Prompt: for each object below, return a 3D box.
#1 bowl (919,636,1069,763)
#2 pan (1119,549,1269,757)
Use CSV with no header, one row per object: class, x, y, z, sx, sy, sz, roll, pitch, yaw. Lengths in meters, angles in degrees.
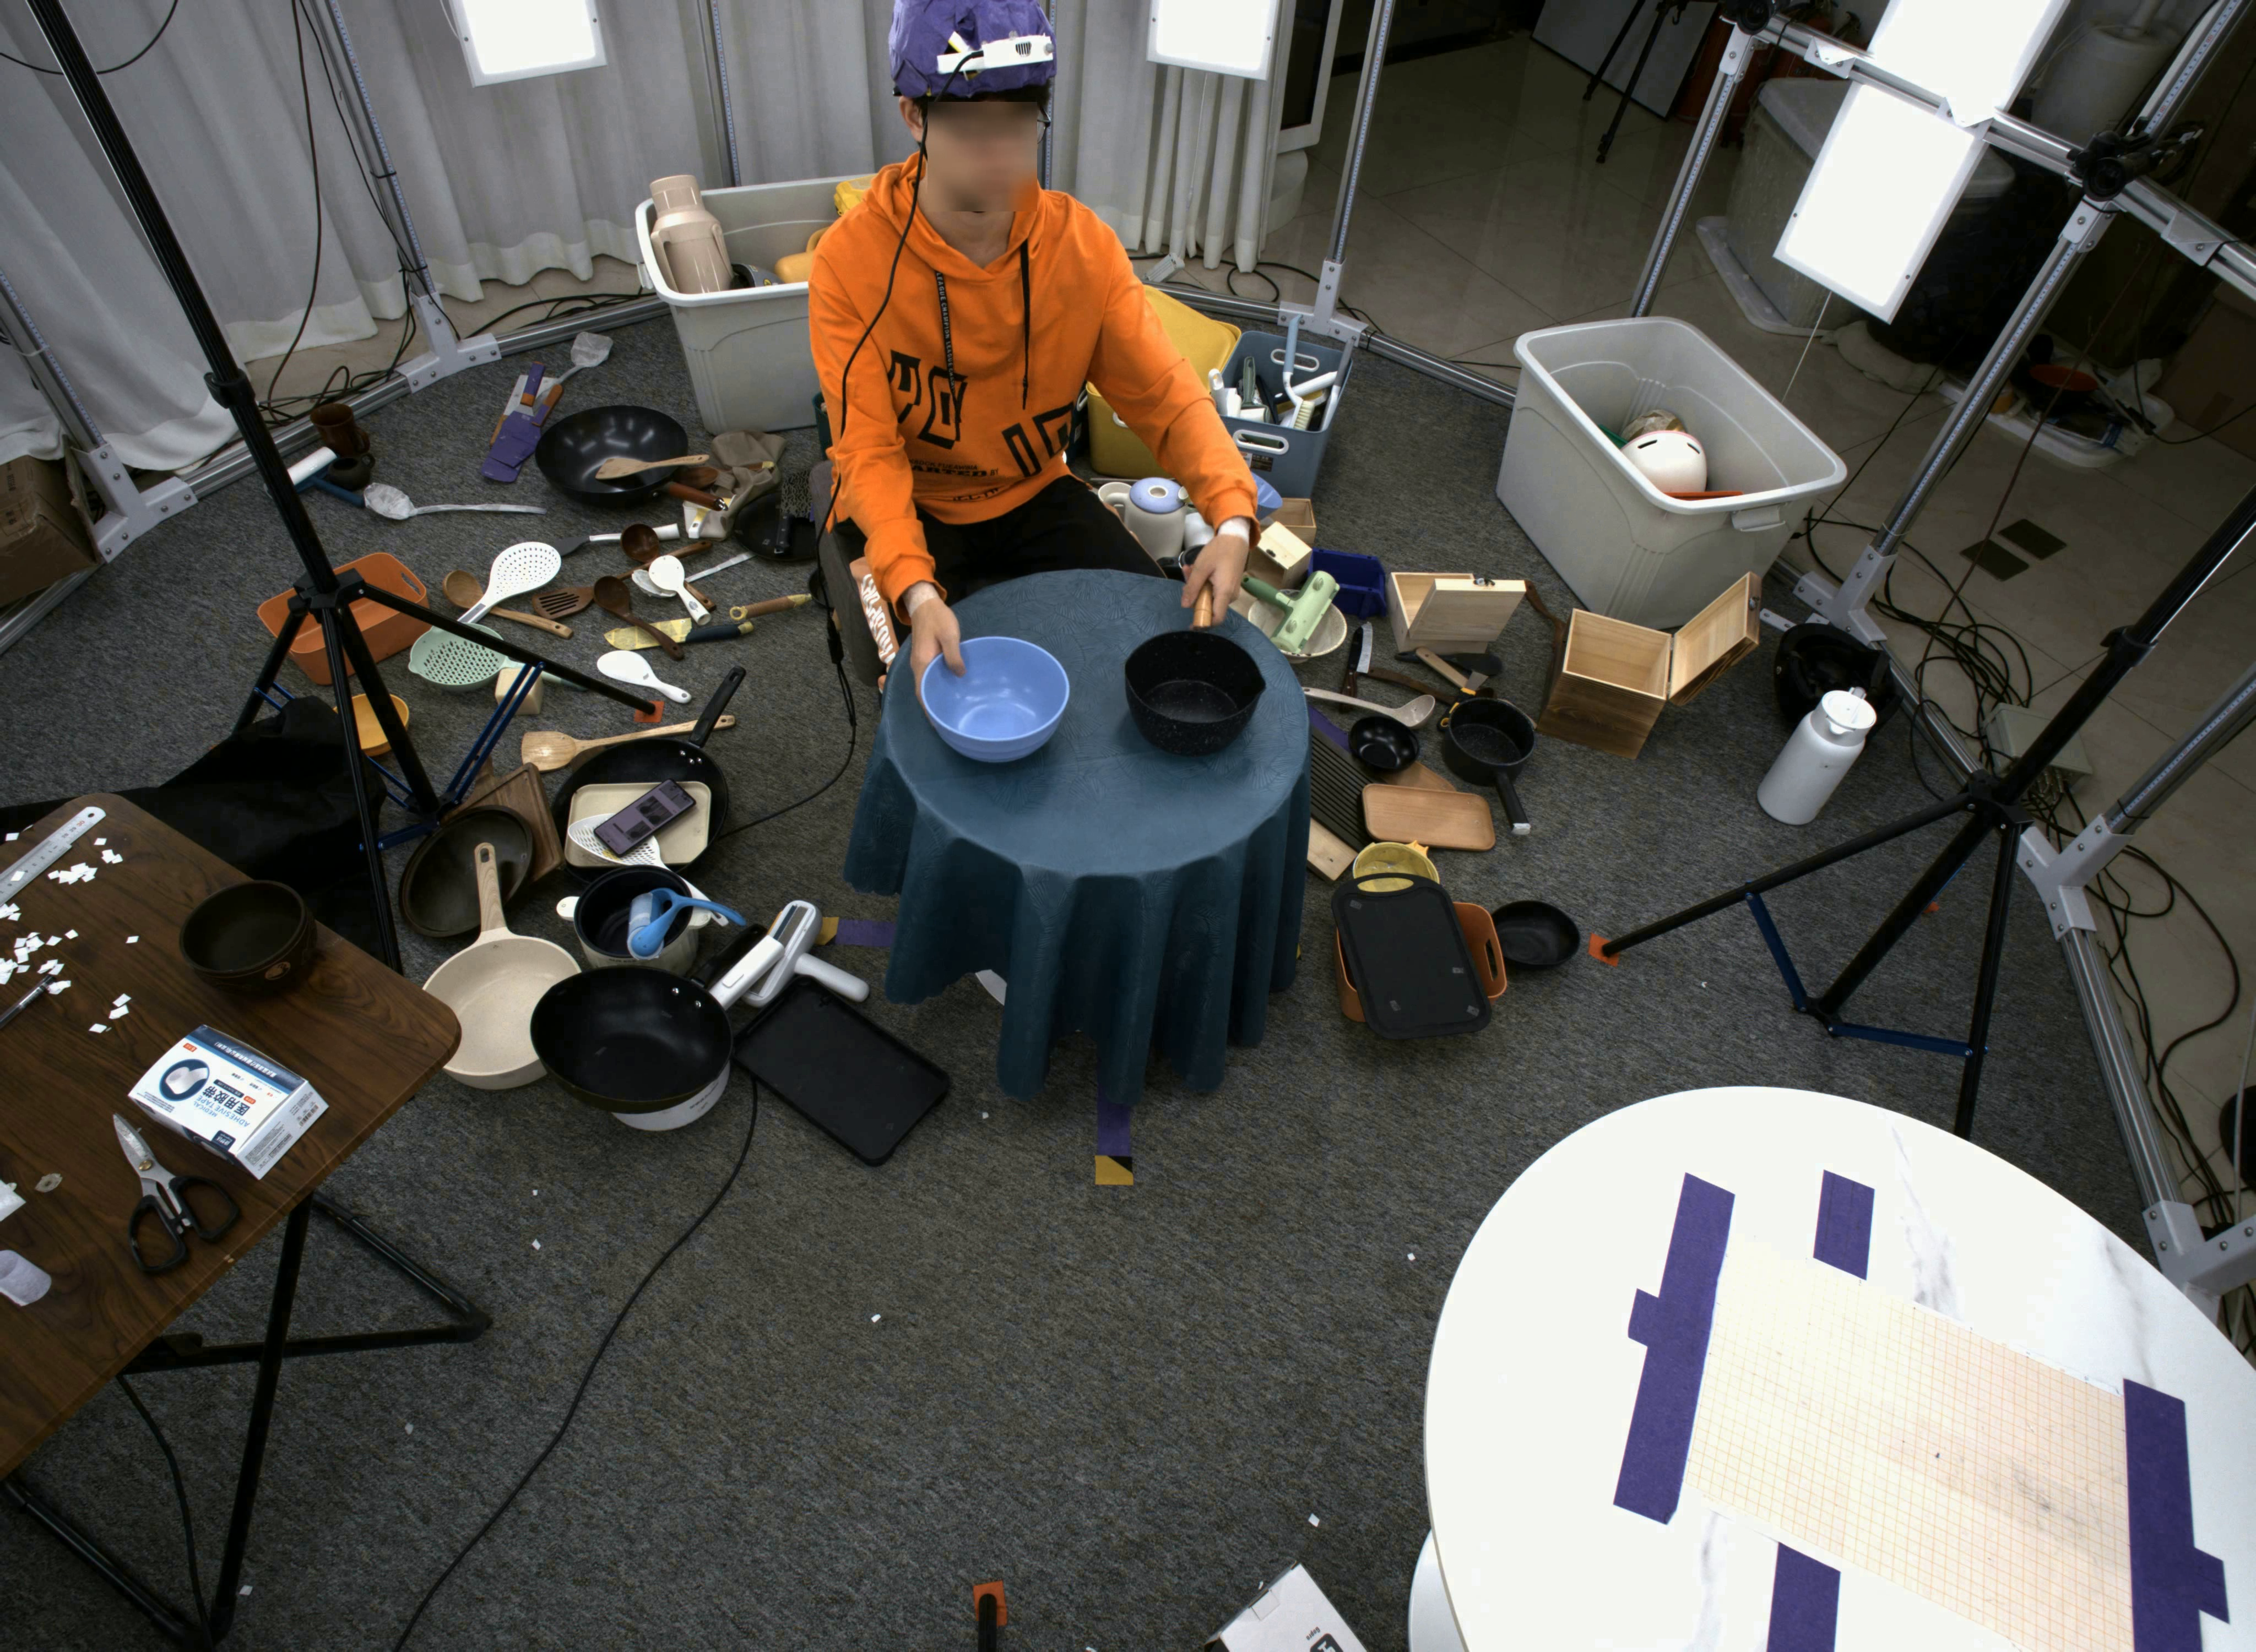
bowl,-0.178,-0.155,1.730,0.196,0.093,0.201,2,50,-2
pan,0.097,-0.246,1.819,0.207,0.105,0.351,7,50,3
